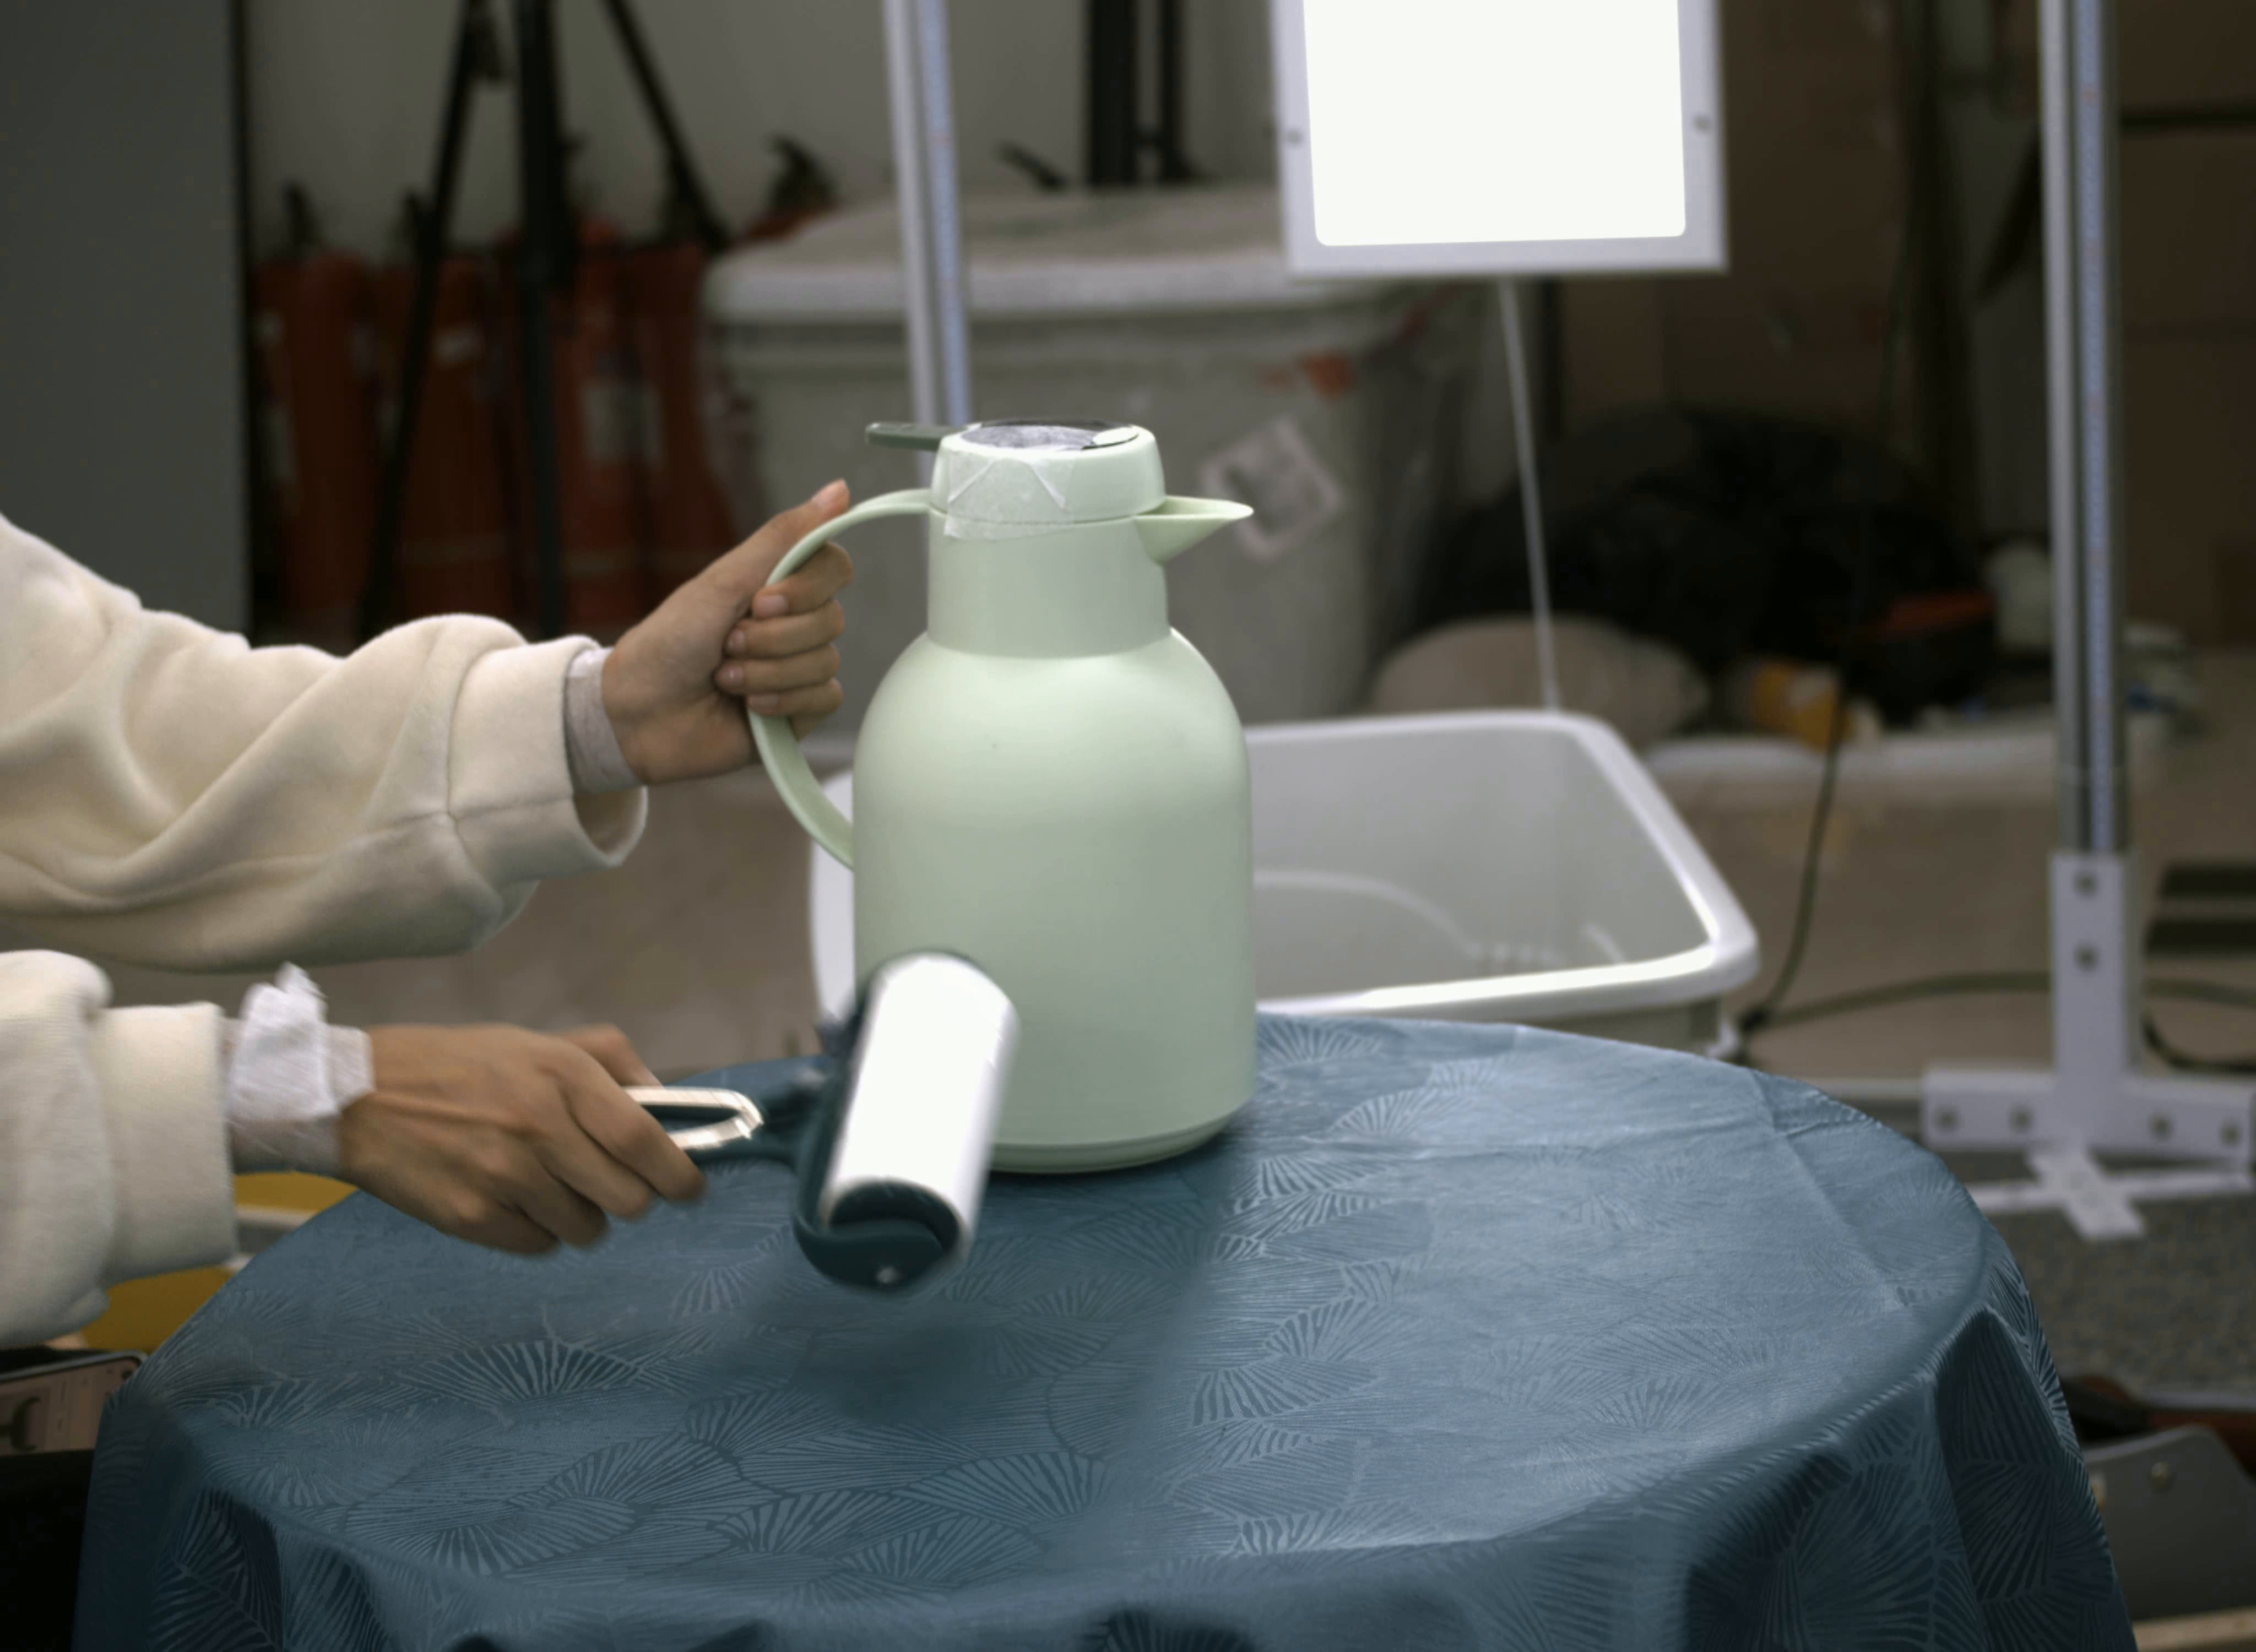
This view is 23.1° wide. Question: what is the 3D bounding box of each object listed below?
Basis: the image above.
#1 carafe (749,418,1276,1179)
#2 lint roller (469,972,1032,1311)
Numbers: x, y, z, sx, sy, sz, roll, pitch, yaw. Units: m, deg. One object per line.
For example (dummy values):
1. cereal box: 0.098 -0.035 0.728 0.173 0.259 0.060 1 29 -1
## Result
1. carafe: -0.038 -0.014 1.948 0.189 0.257 0.142 -1 15 19
2. lint roller: -0.127 0.097 1.762 0.181 0.048 0.133 2 39 12
